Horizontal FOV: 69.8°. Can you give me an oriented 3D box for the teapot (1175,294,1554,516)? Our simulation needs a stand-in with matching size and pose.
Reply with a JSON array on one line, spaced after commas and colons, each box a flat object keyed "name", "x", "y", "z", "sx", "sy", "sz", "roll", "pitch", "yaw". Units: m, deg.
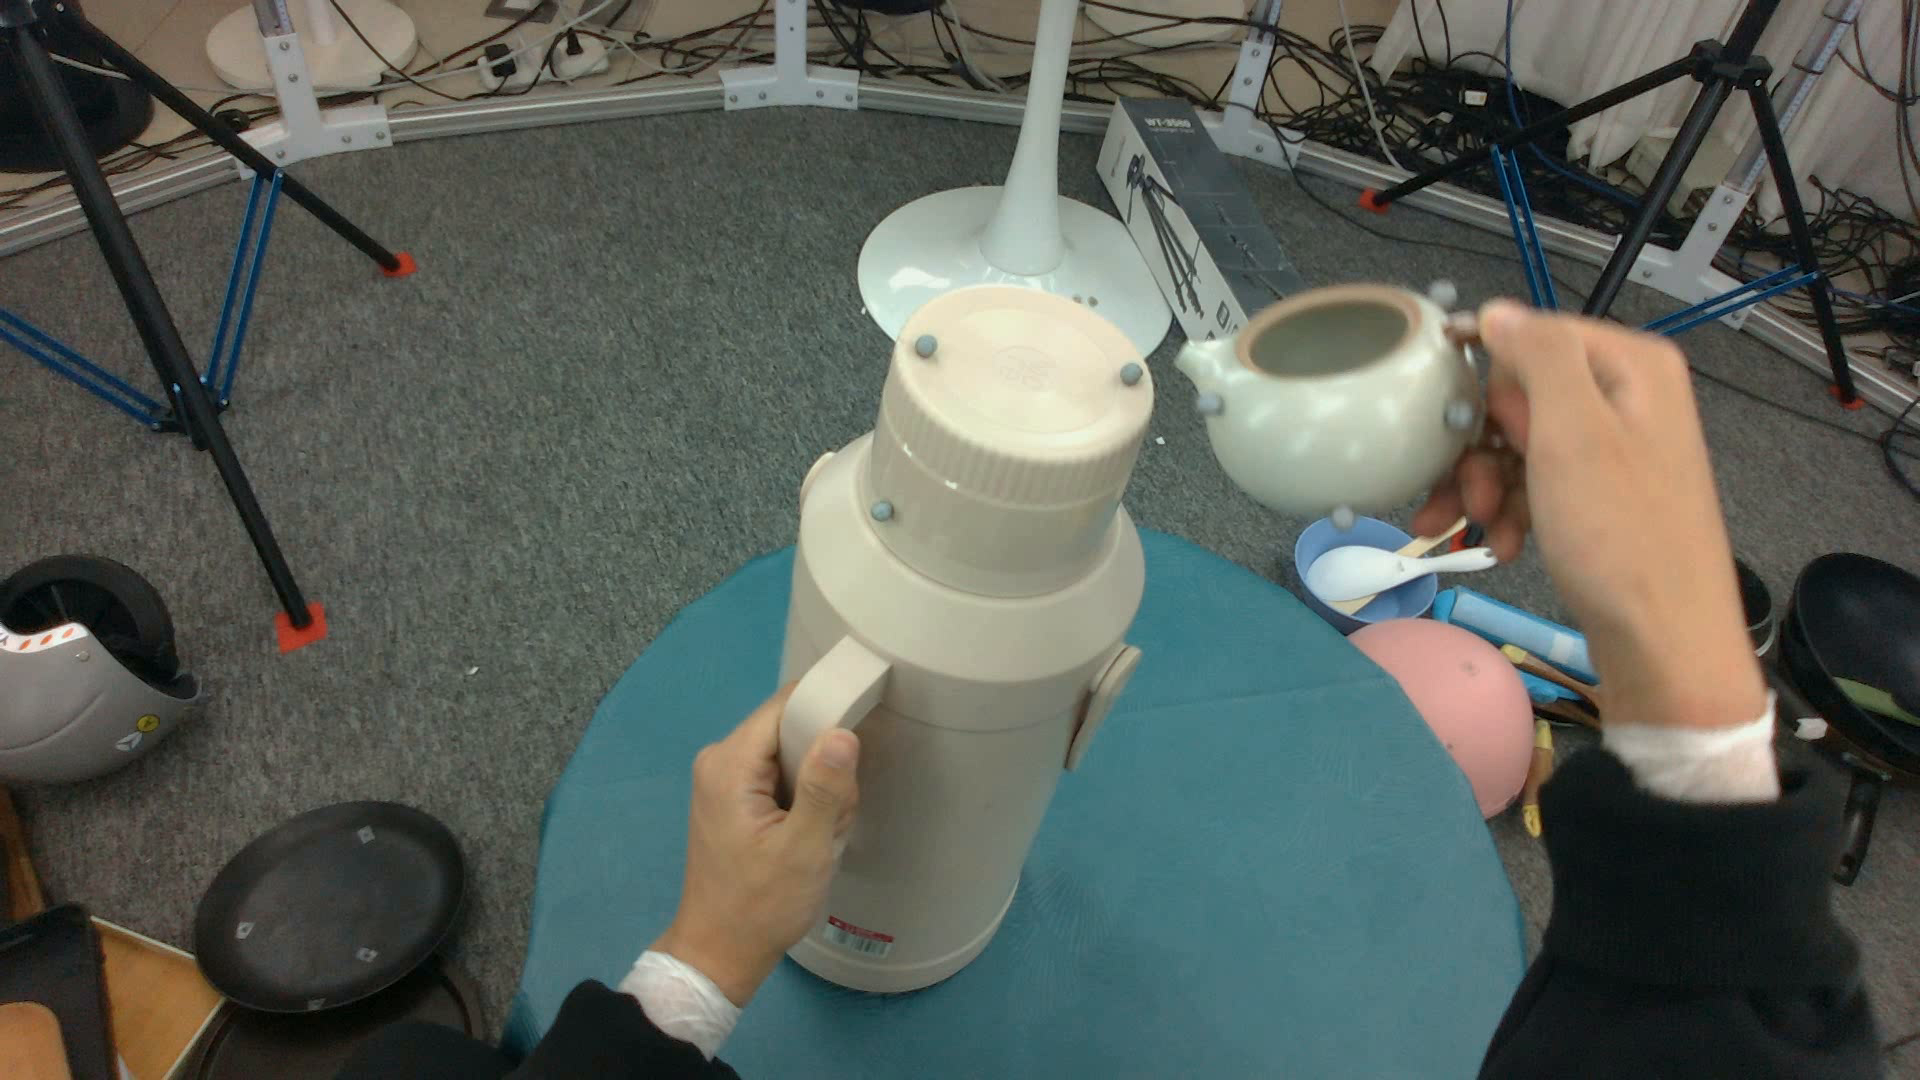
[{"name": "teapot", "x": 0.142, "y": -0.048, "z": 0.491, "sx": 0.128, "sy": 0.059, "sz": 0.092, "roll": 0, "pitch": 37, "yaw": 23}]

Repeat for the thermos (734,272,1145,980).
[{"name": "thermos", "x": -0.026, "y": 0.066, "z": 0.673, "sx": 0.175, "sy": 0.404, "sz": 0.208, "roll": 33, "pitch": 48, "yaw": 14}]
